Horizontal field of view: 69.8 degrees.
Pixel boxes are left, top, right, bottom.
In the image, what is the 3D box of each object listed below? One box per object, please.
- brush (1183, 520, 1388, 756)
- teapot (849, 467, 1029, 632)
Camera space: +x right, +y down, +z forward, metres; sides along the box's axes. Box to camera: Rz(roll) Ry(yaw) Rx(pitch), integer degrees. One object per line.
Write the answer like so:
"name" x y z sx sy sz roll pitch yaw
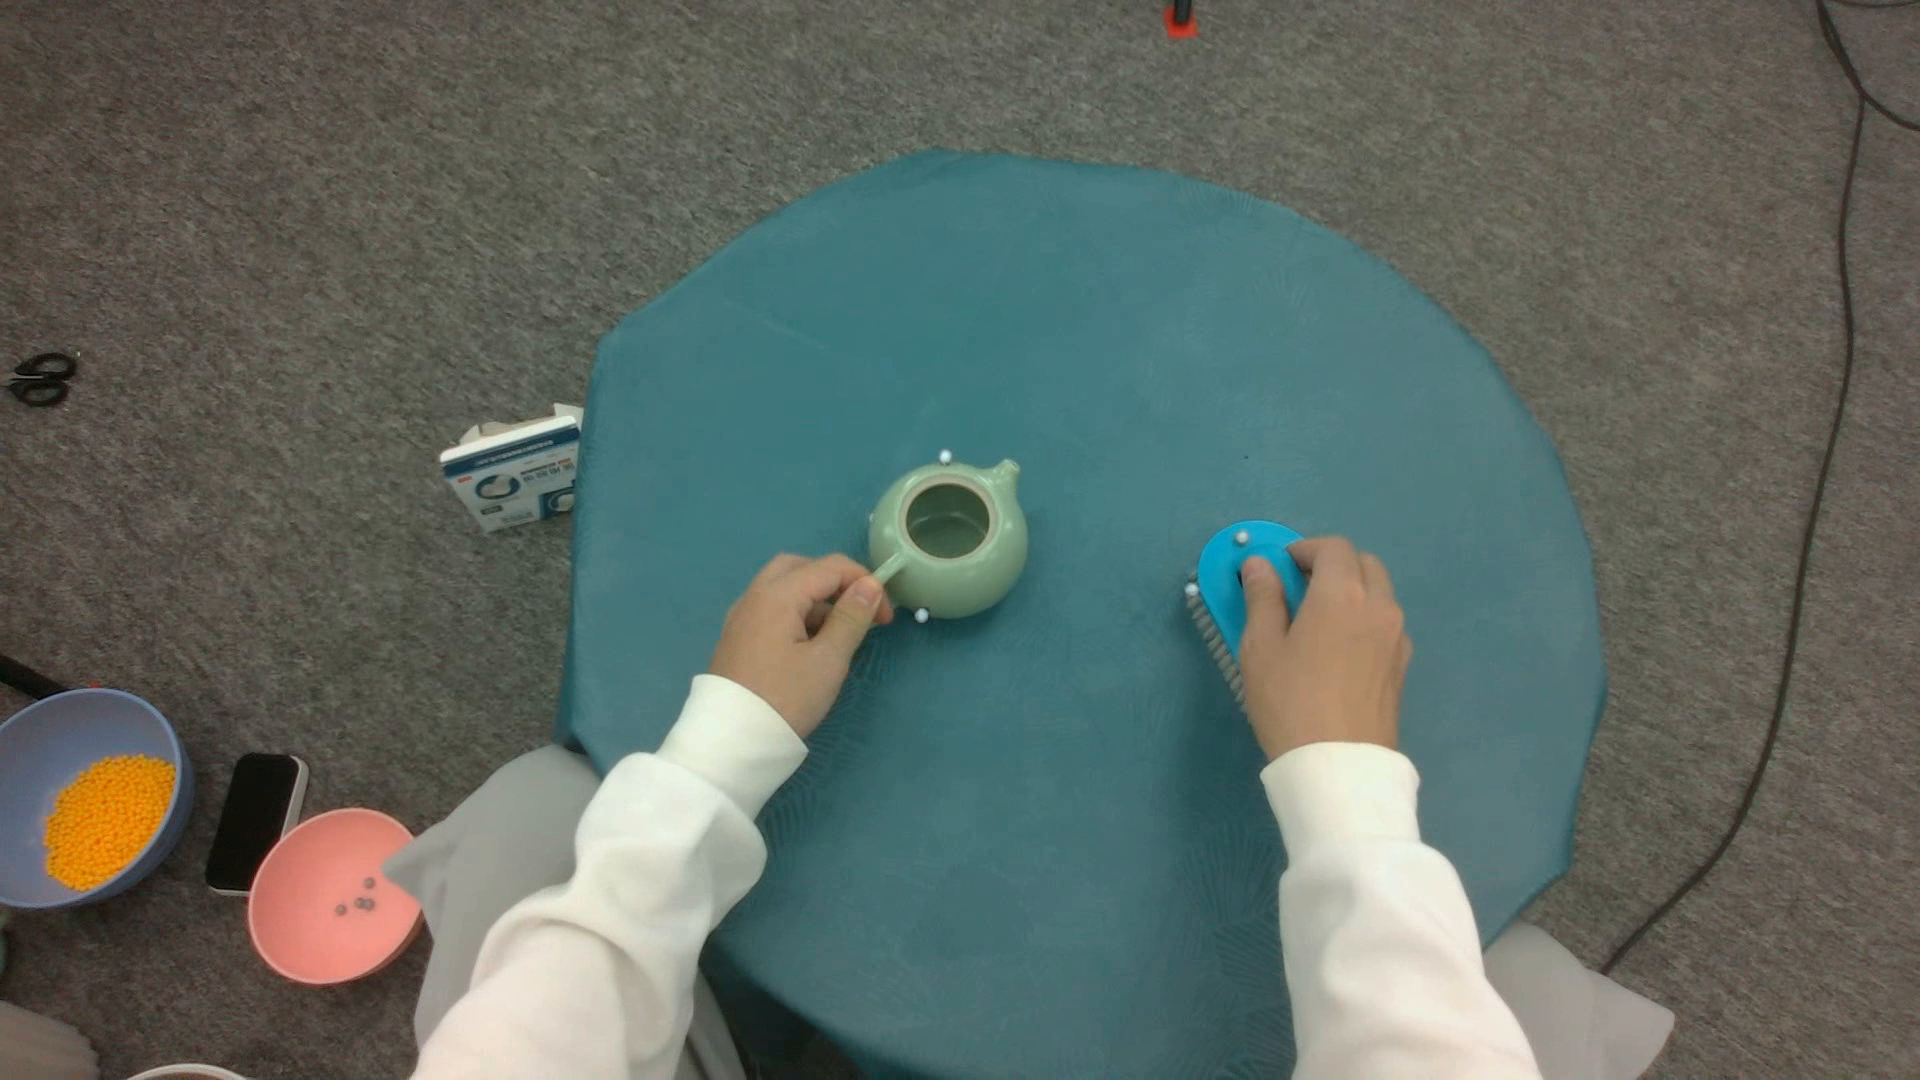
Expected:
"brush" 0.186 0.046 0.772 0.084 0.063 0.142 -19 66 -13
"teapot" -0.013 0.009 0.794 0.129 0.061 0.091 -38 72 -17
